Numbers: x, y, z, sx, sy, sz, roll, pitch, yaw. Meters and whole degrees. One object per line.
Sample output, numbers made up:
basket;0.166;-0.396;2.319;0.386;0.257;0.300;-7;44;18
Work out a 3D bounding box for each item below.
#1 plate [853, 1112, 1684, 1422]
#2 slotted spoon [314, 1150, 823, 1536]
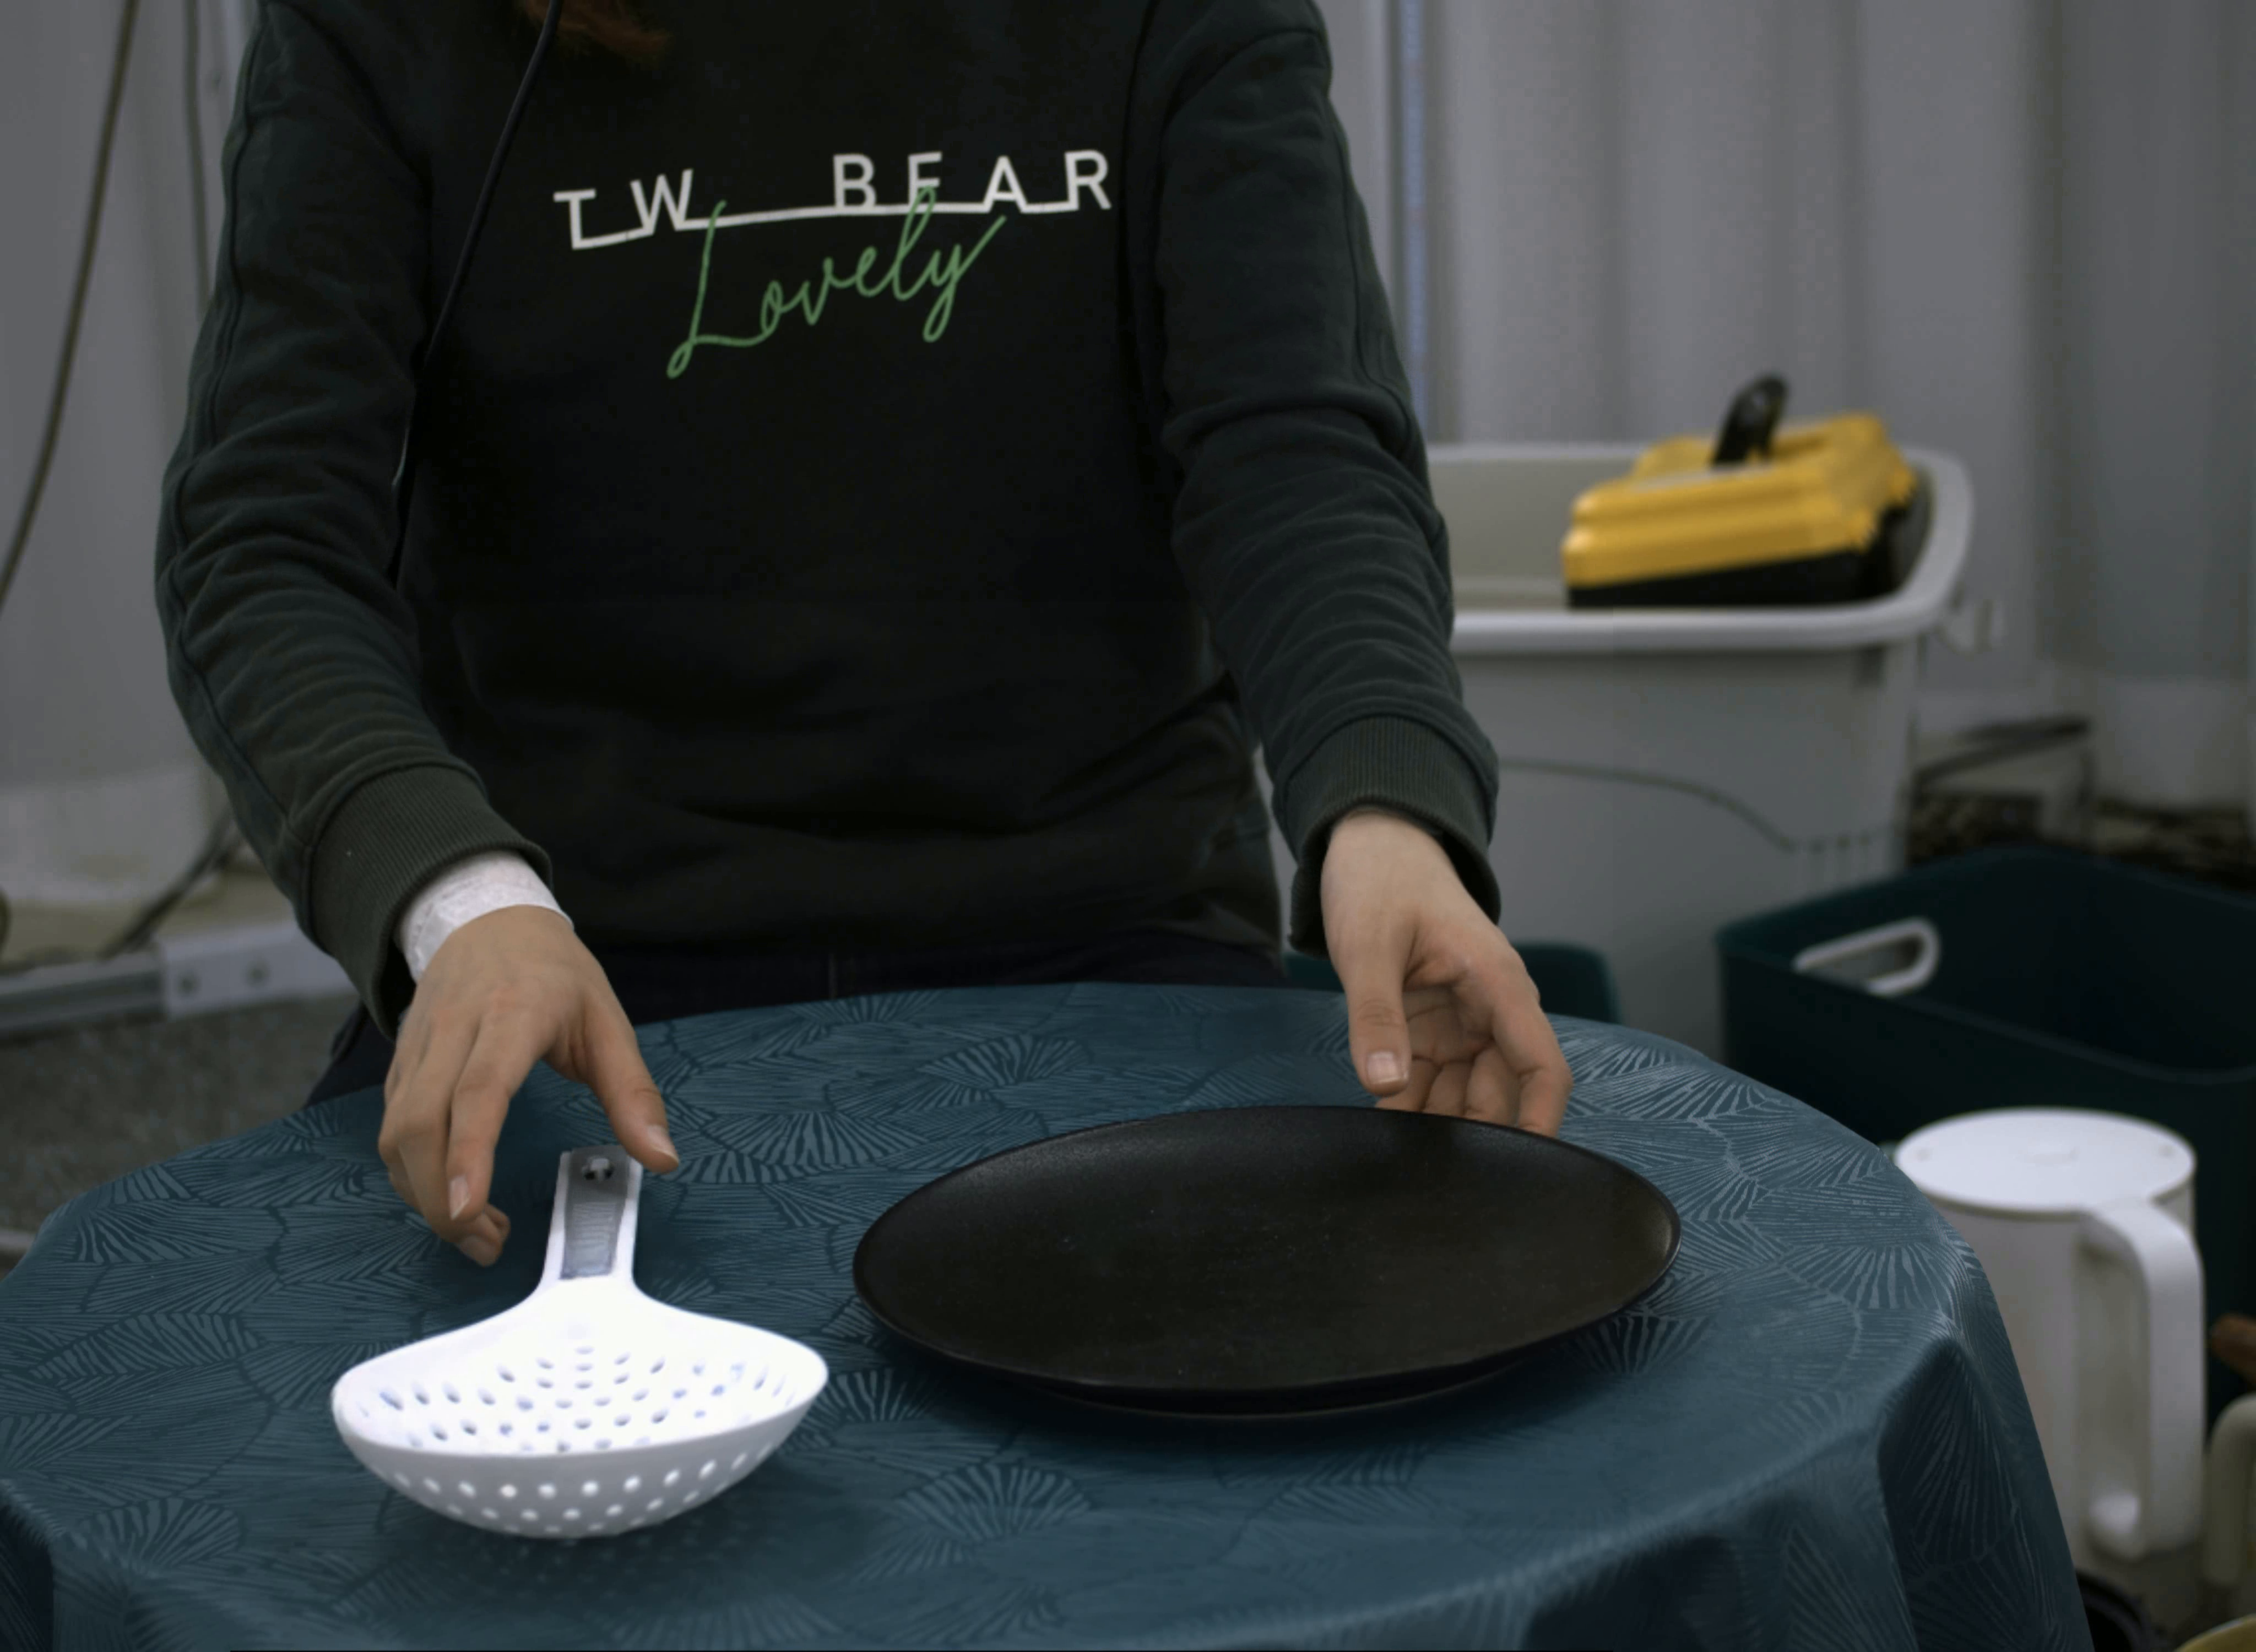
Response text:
plate;0.041;0.131;1.602;0.243;0.023;0.246;-3;15;0
slotted spoon;-0.155;0.139;1.567;0.135;0.045;0.352;-2;14;-3
